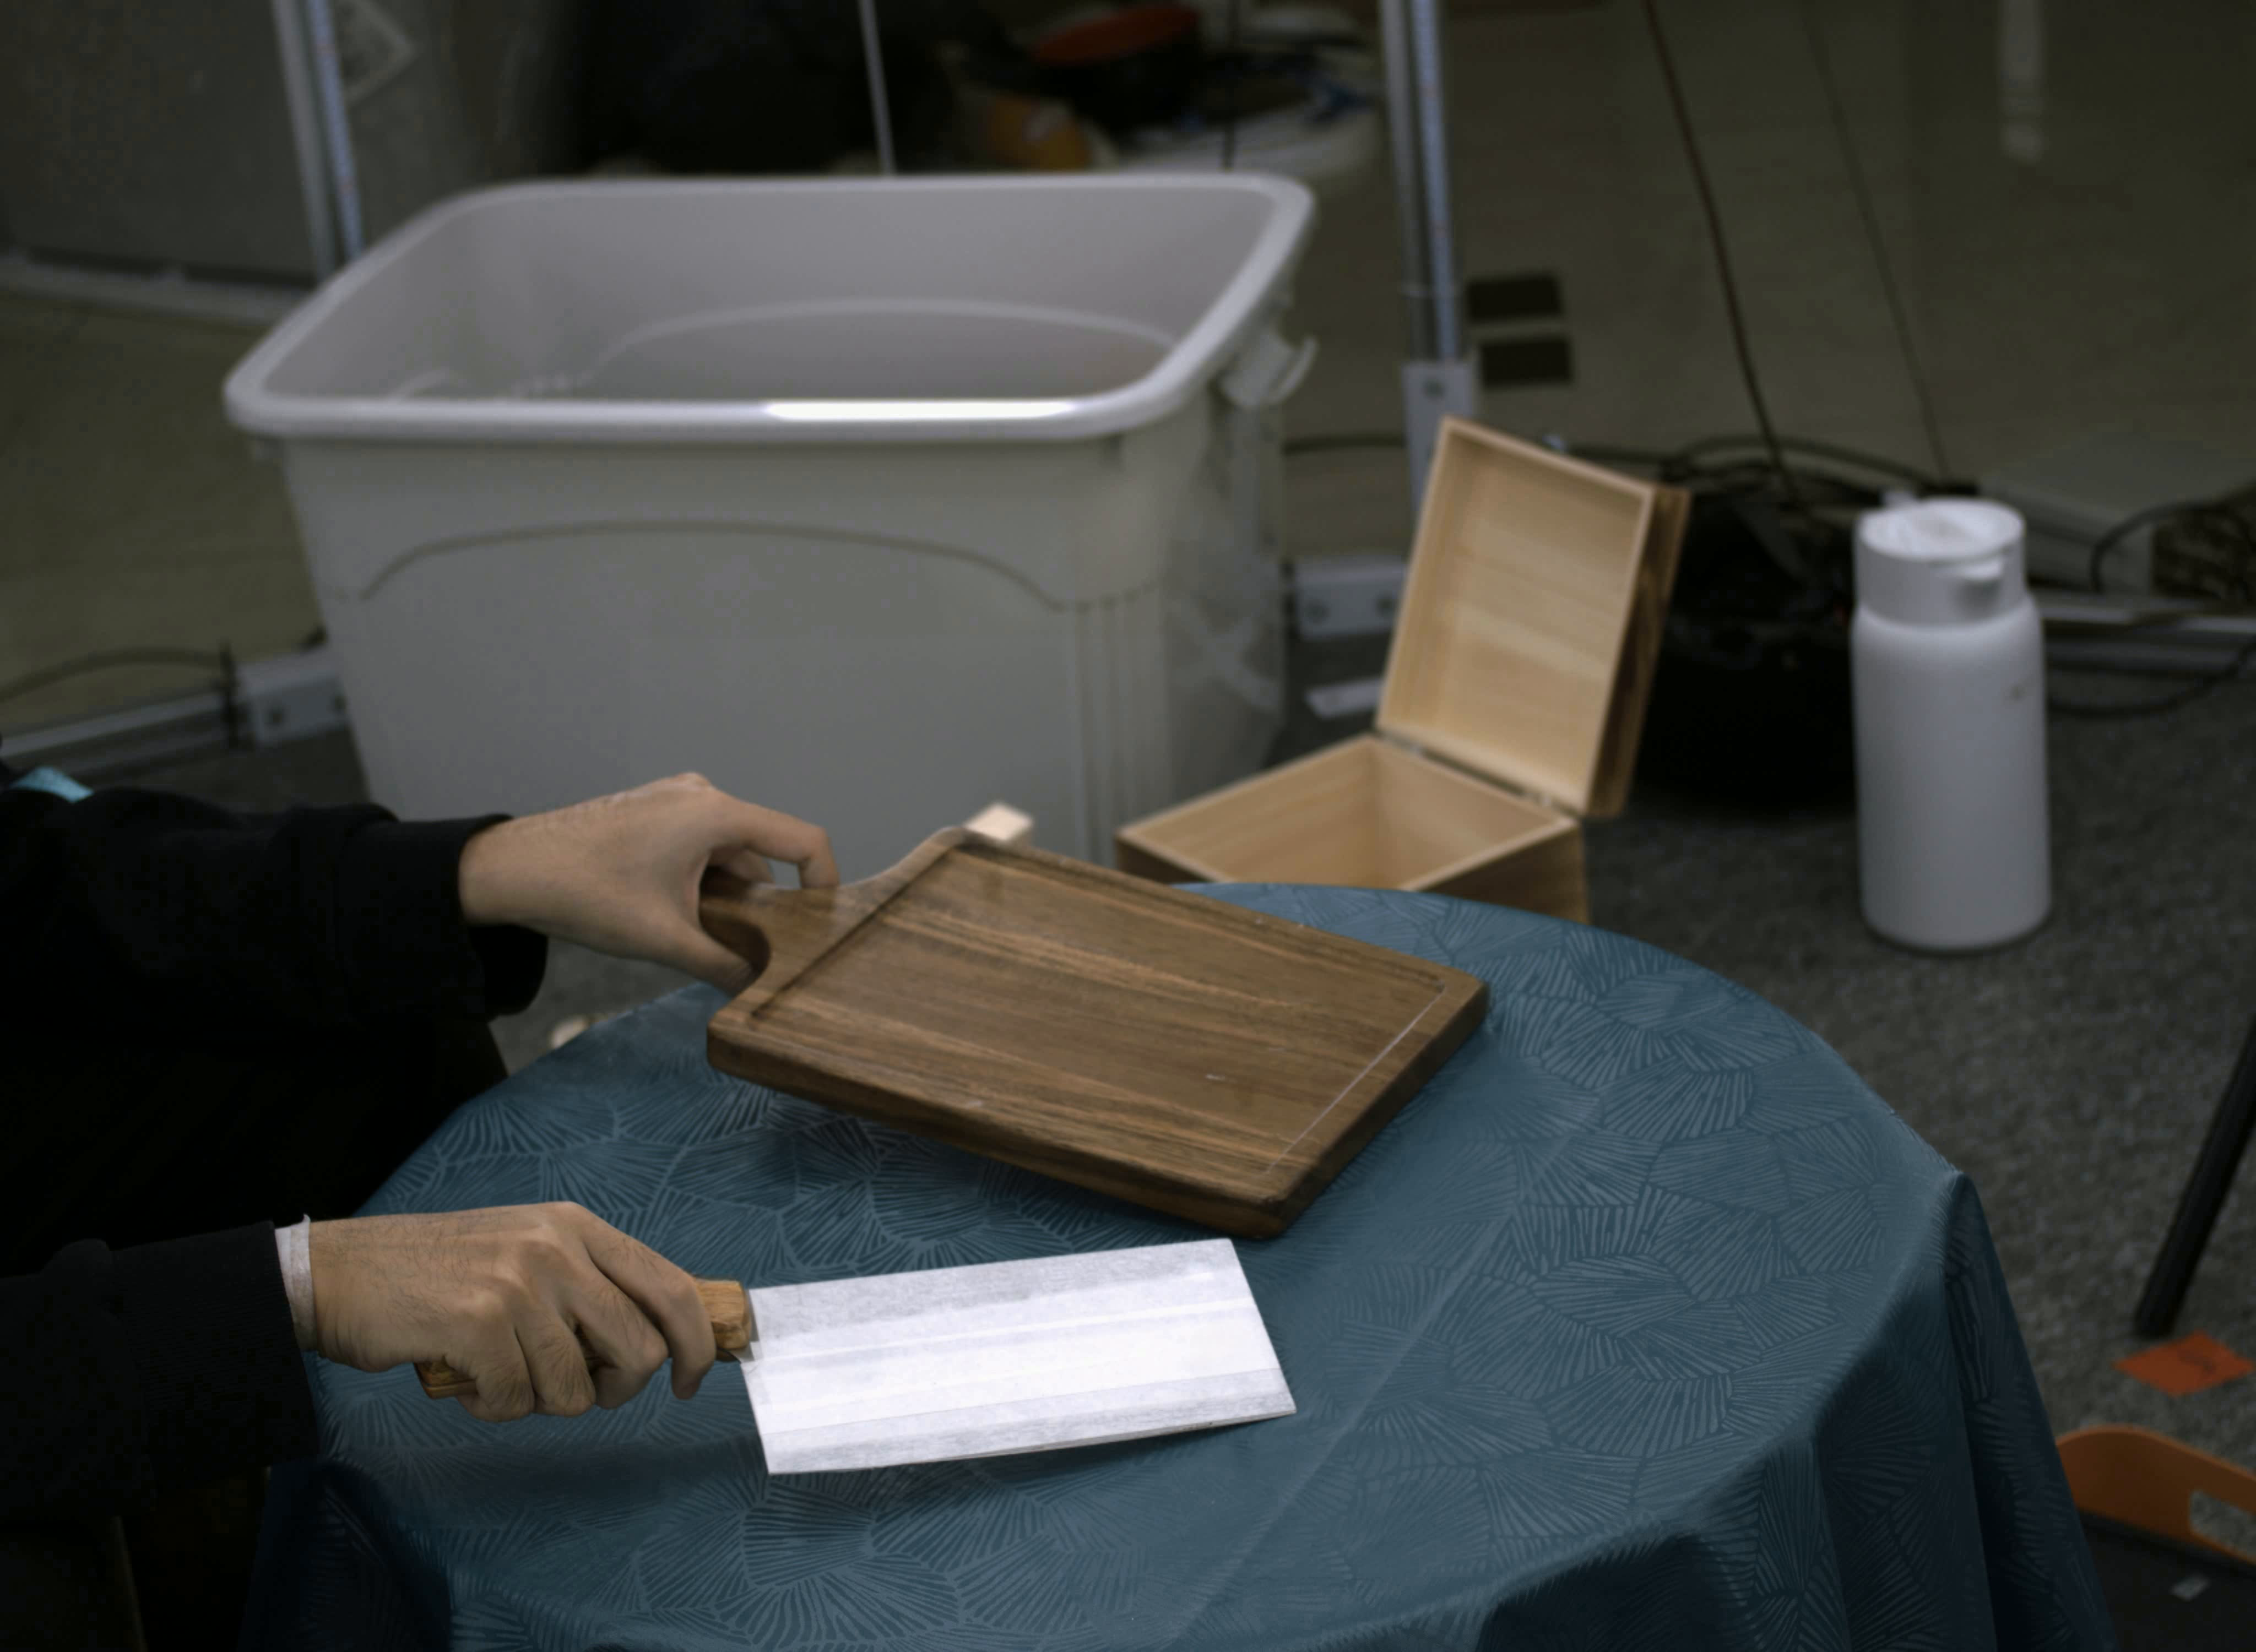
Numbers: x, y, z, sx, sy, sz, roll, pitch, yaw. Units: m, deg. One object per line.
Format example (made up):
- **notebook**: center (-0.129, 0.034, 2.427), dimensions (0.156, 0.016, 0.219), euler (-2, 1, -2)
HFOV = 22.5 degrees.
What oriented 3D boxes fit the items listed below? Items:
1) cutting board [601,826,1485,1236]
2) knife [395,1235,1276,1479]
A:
- **cutting board**: center (-0.054, 0.064, 2.235), dimensions (0.350, 0.023, 0.198), euler (16, 32, 23)
- **knife**: center (-0.099, 0.189, 1.983), dimensions (0.305, 0.021, 0.091), euler (-5, 43, -15)
